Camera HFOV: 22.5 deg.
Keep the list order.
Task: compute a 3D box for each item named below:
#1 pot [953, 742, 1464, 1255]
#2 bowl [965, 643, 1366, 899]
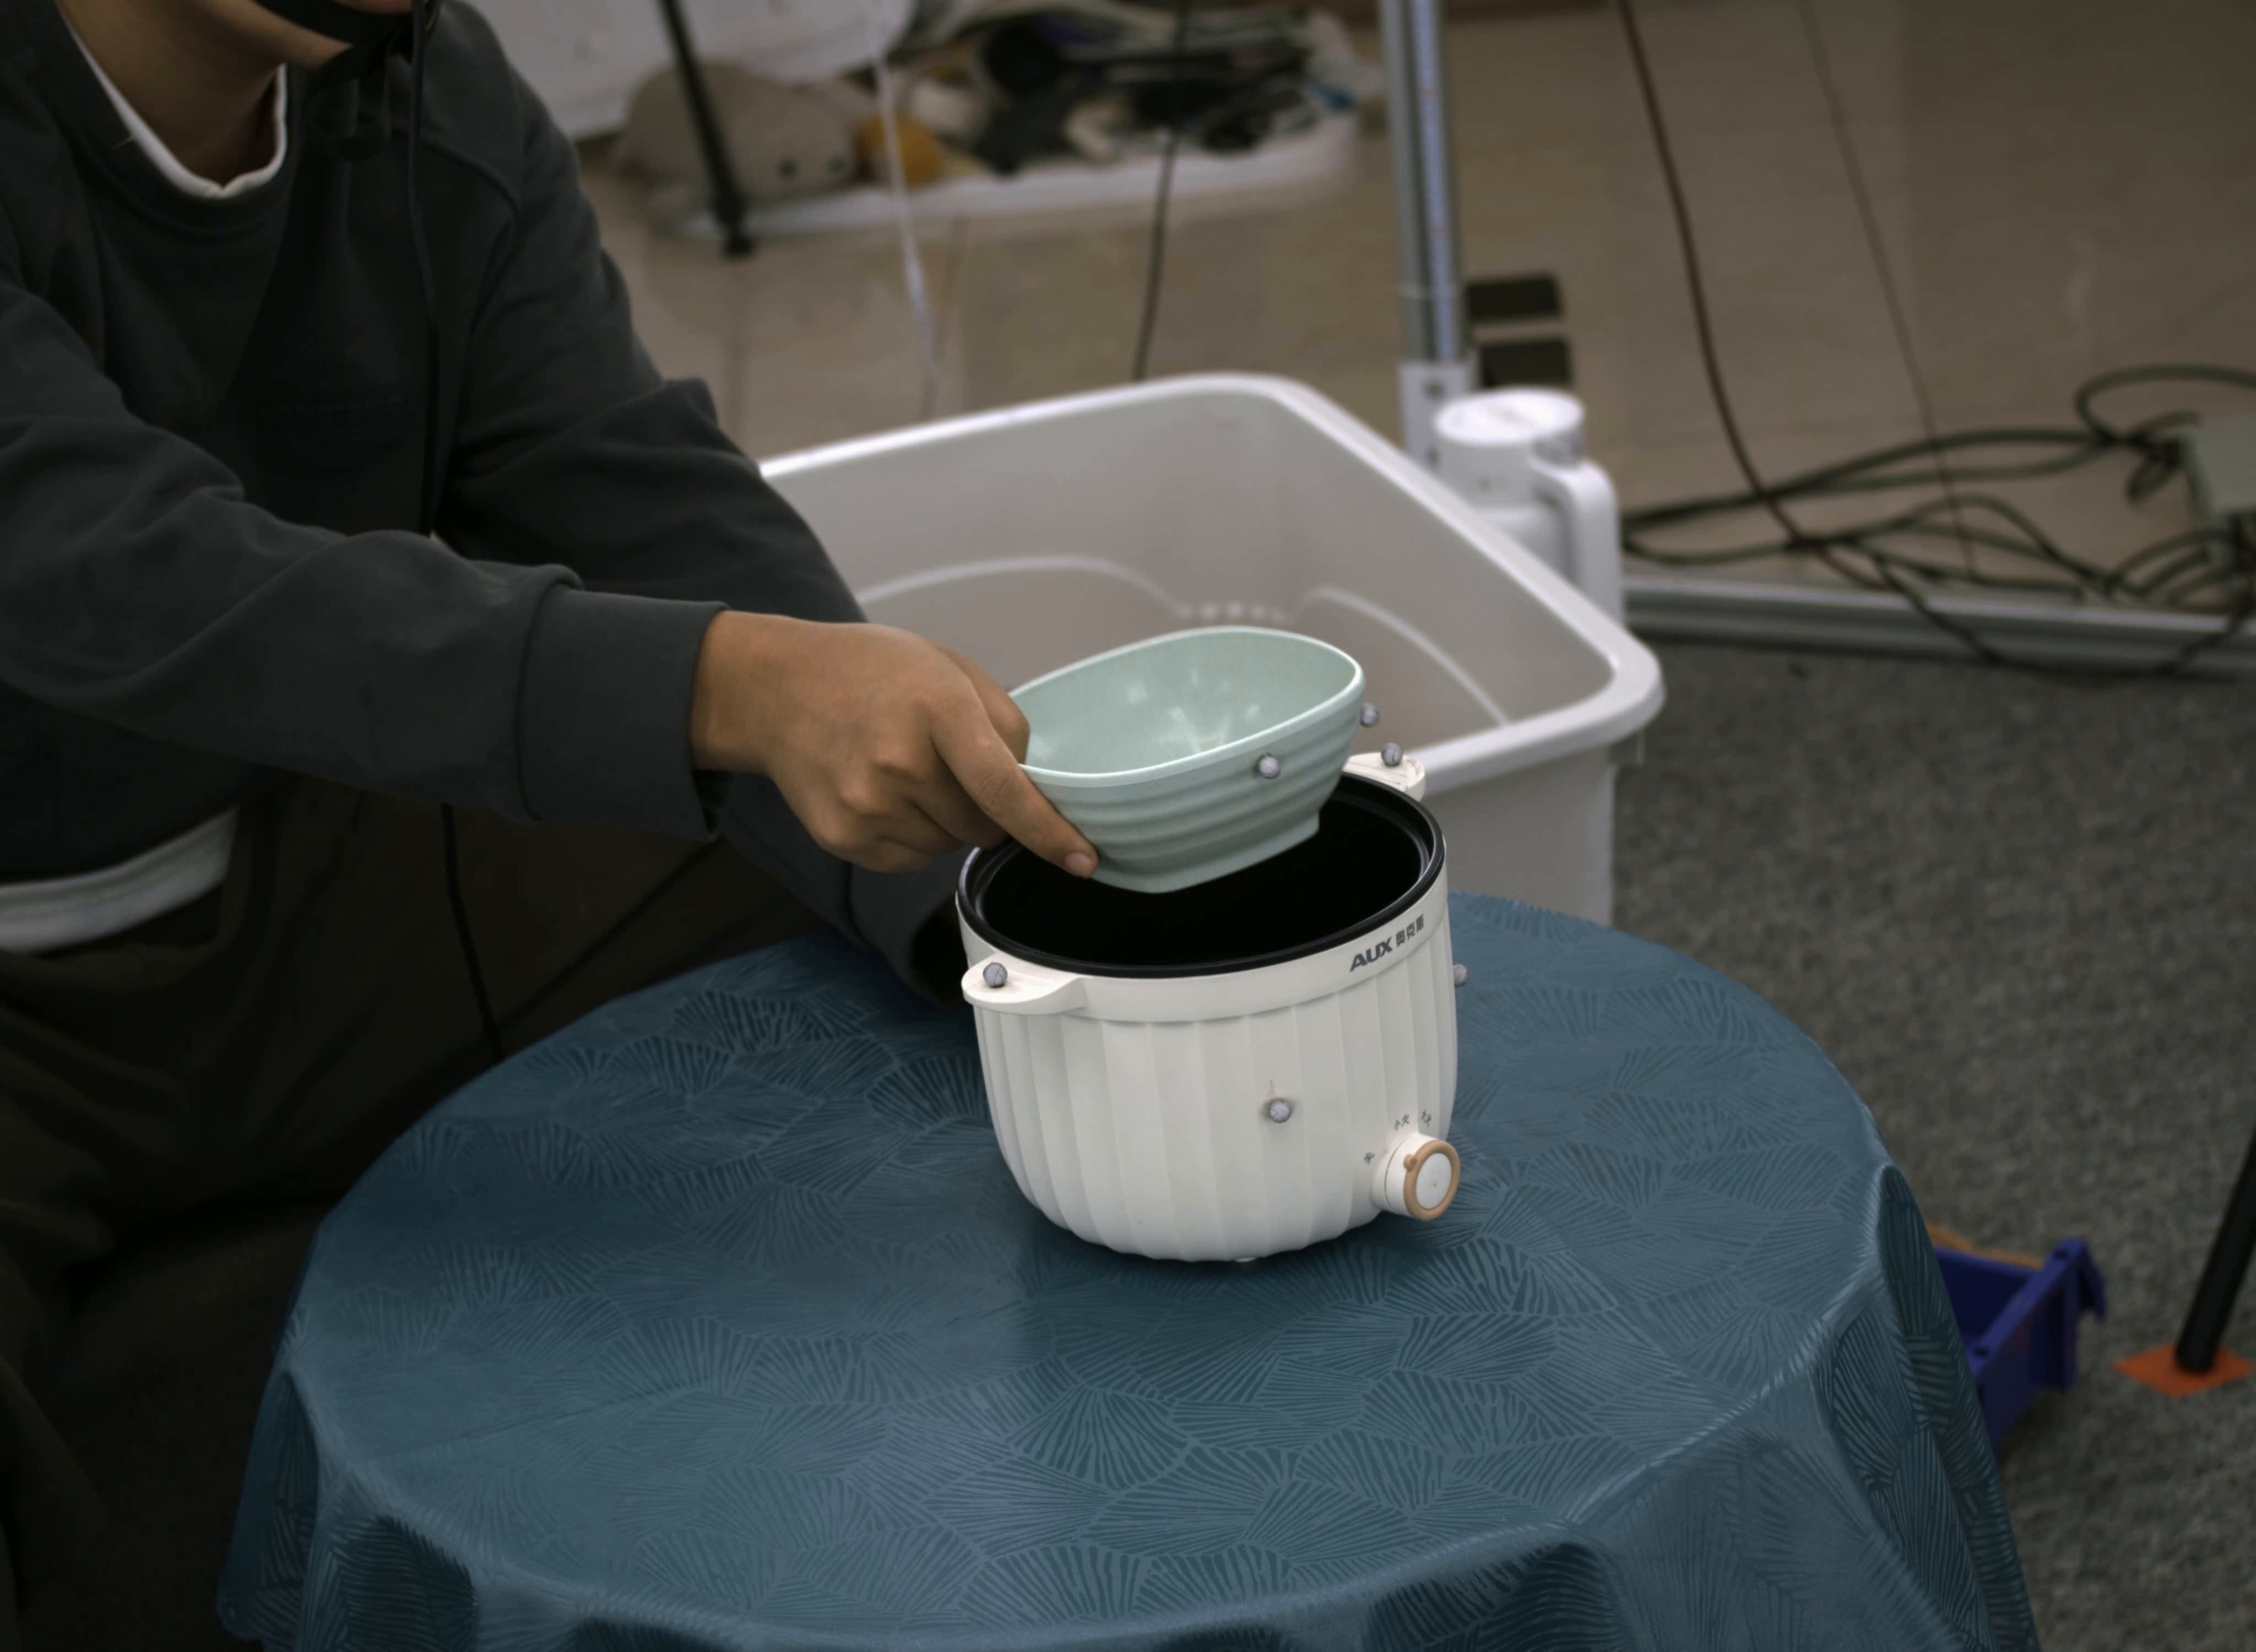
[{"bbox_3d":[0.037,0.071,2.114,0.189,0.145,0.238,12,32,40],"label":"pot"},{"bbox_3d":[0.018,-0.017,2.088,0.151,0.059,0.149,-9,18,3],"label":"bowl"}]
